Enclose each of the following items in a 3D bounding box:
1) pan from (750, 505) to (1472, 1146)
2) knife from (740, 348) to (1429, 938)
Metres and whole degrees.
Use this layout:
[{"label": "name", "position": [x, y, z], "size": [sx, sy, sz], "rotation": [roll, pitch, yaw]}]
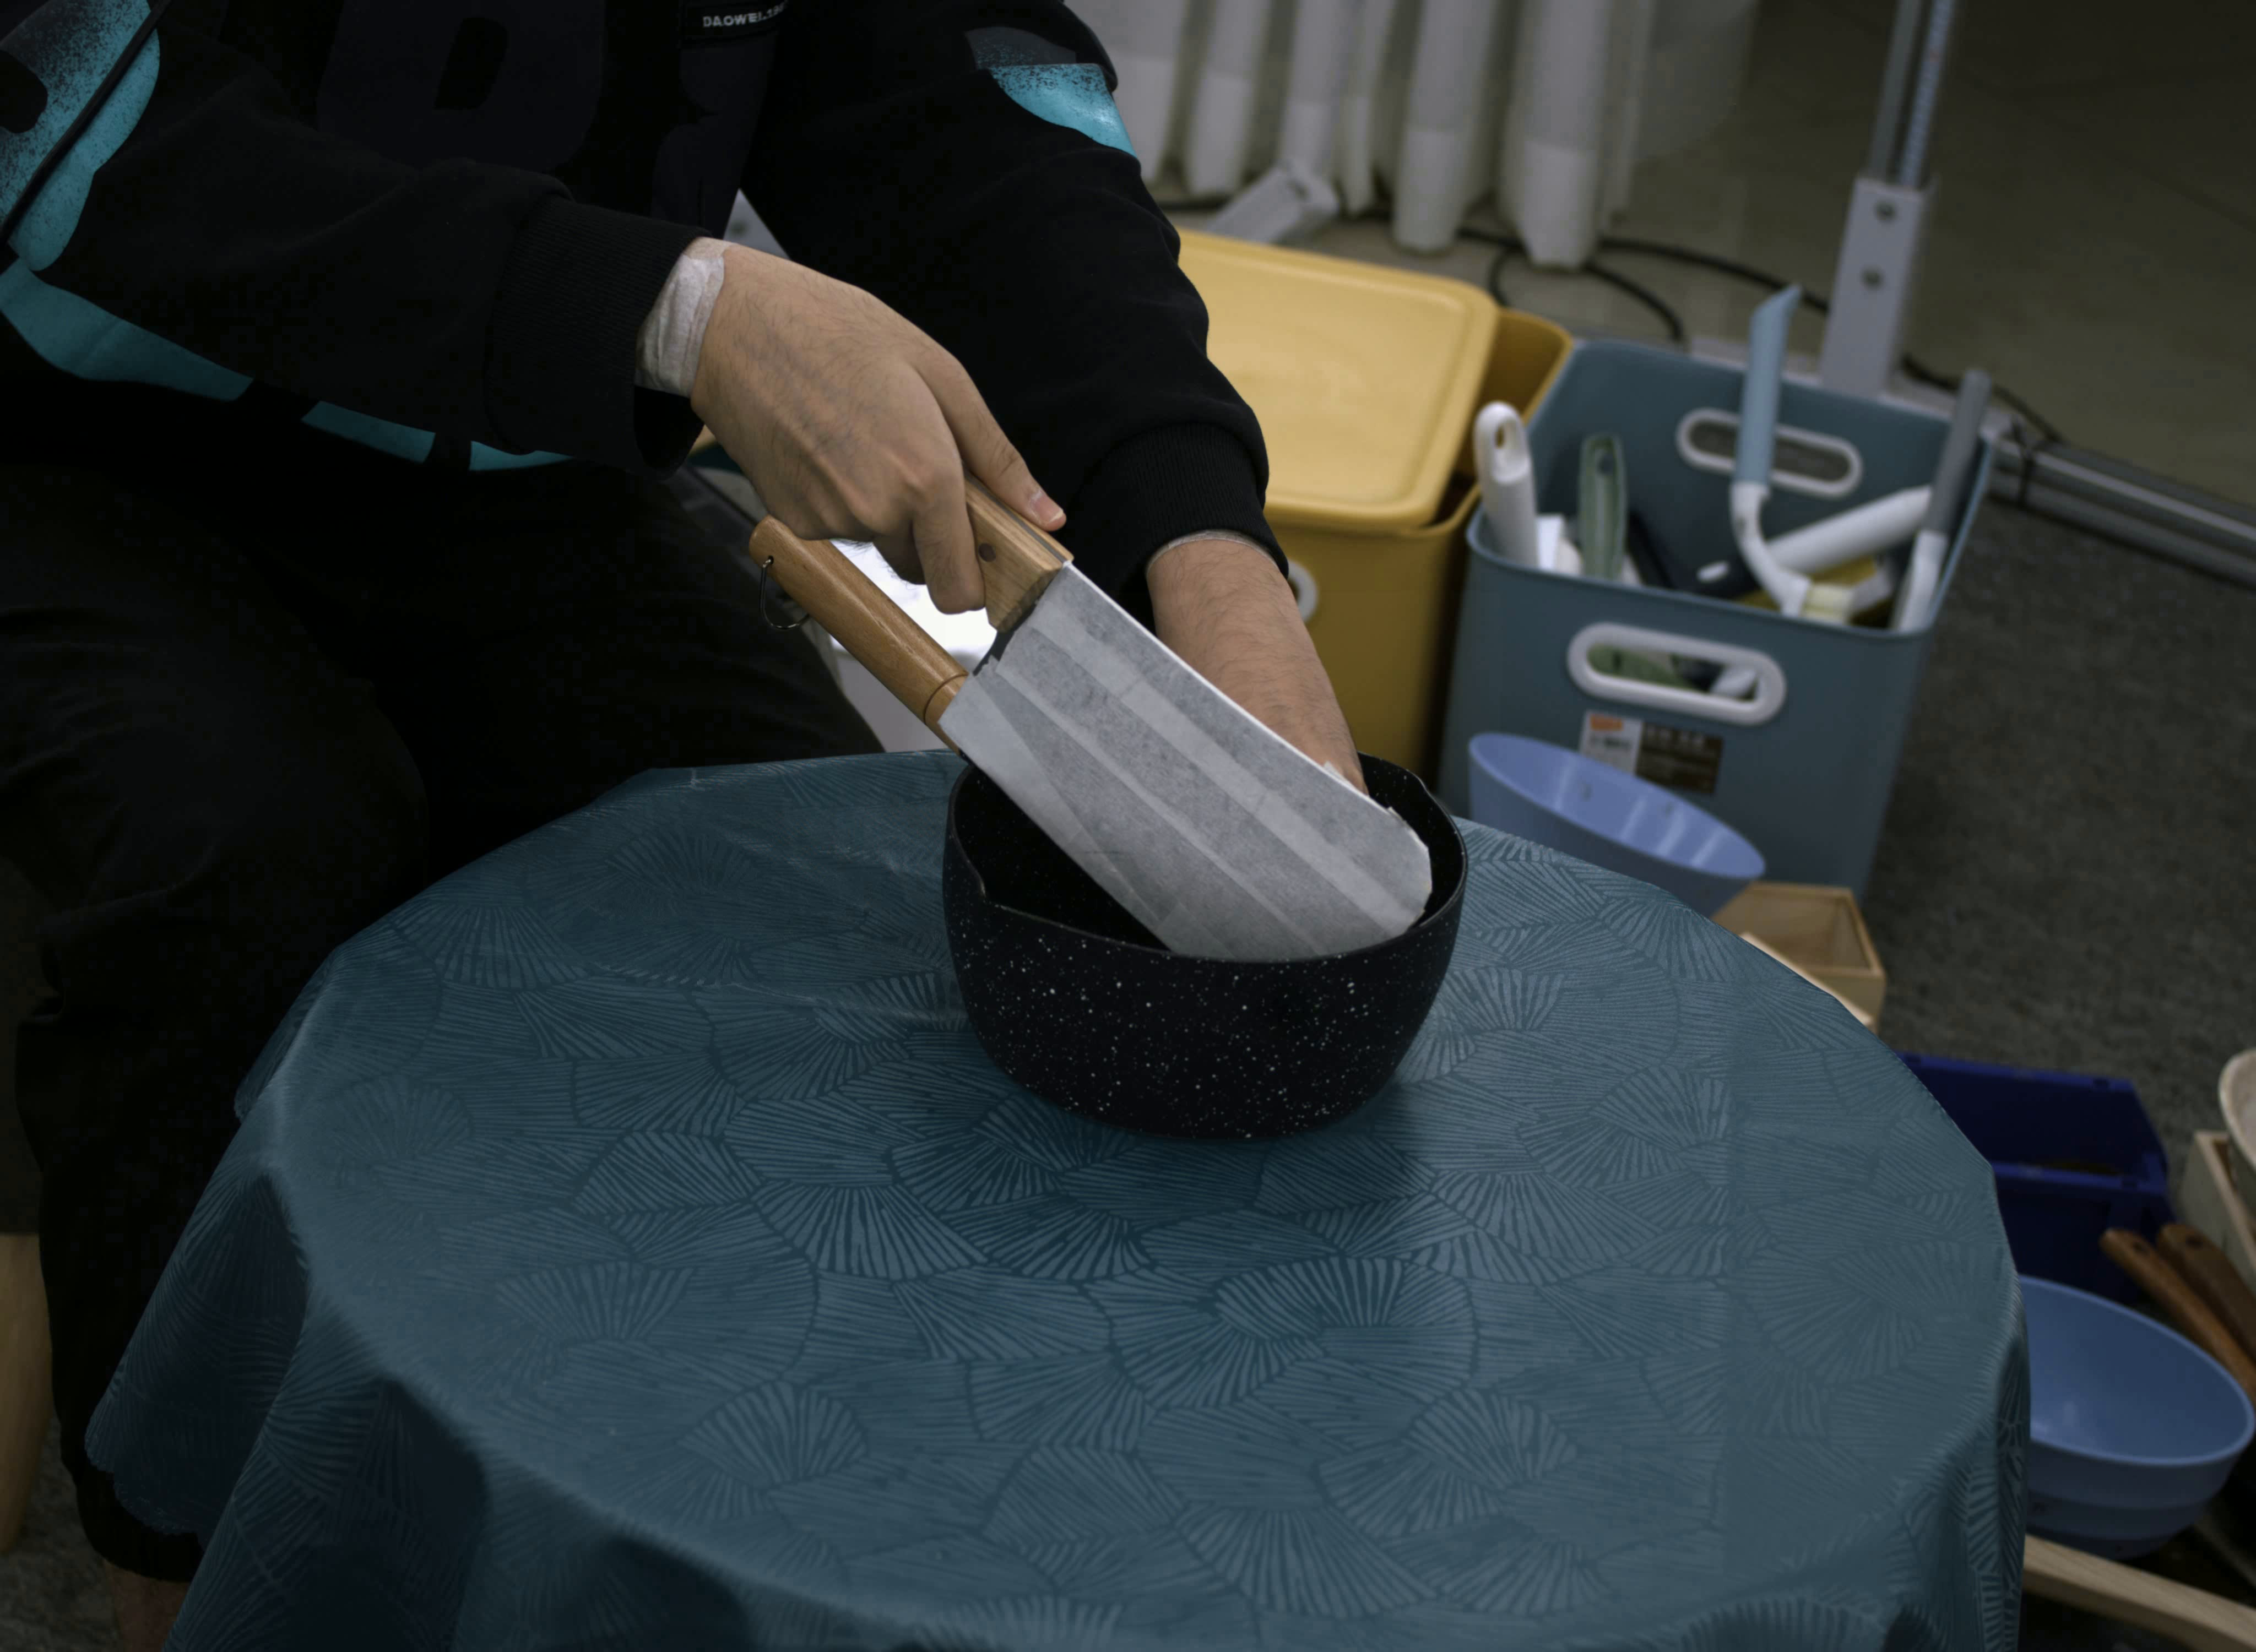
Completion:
[{"label": "pan", "position": [-0.029, -0.004, 1.925], "size": [0.206, 0.108, 0.345], "rotation": [-20, 38, -39]}, {"label": "knife", "position": [-0.020, -0.053, 1.862], "size": [0.316, 0.114, 0.021], "rotation": [45, 31, 11]}]
